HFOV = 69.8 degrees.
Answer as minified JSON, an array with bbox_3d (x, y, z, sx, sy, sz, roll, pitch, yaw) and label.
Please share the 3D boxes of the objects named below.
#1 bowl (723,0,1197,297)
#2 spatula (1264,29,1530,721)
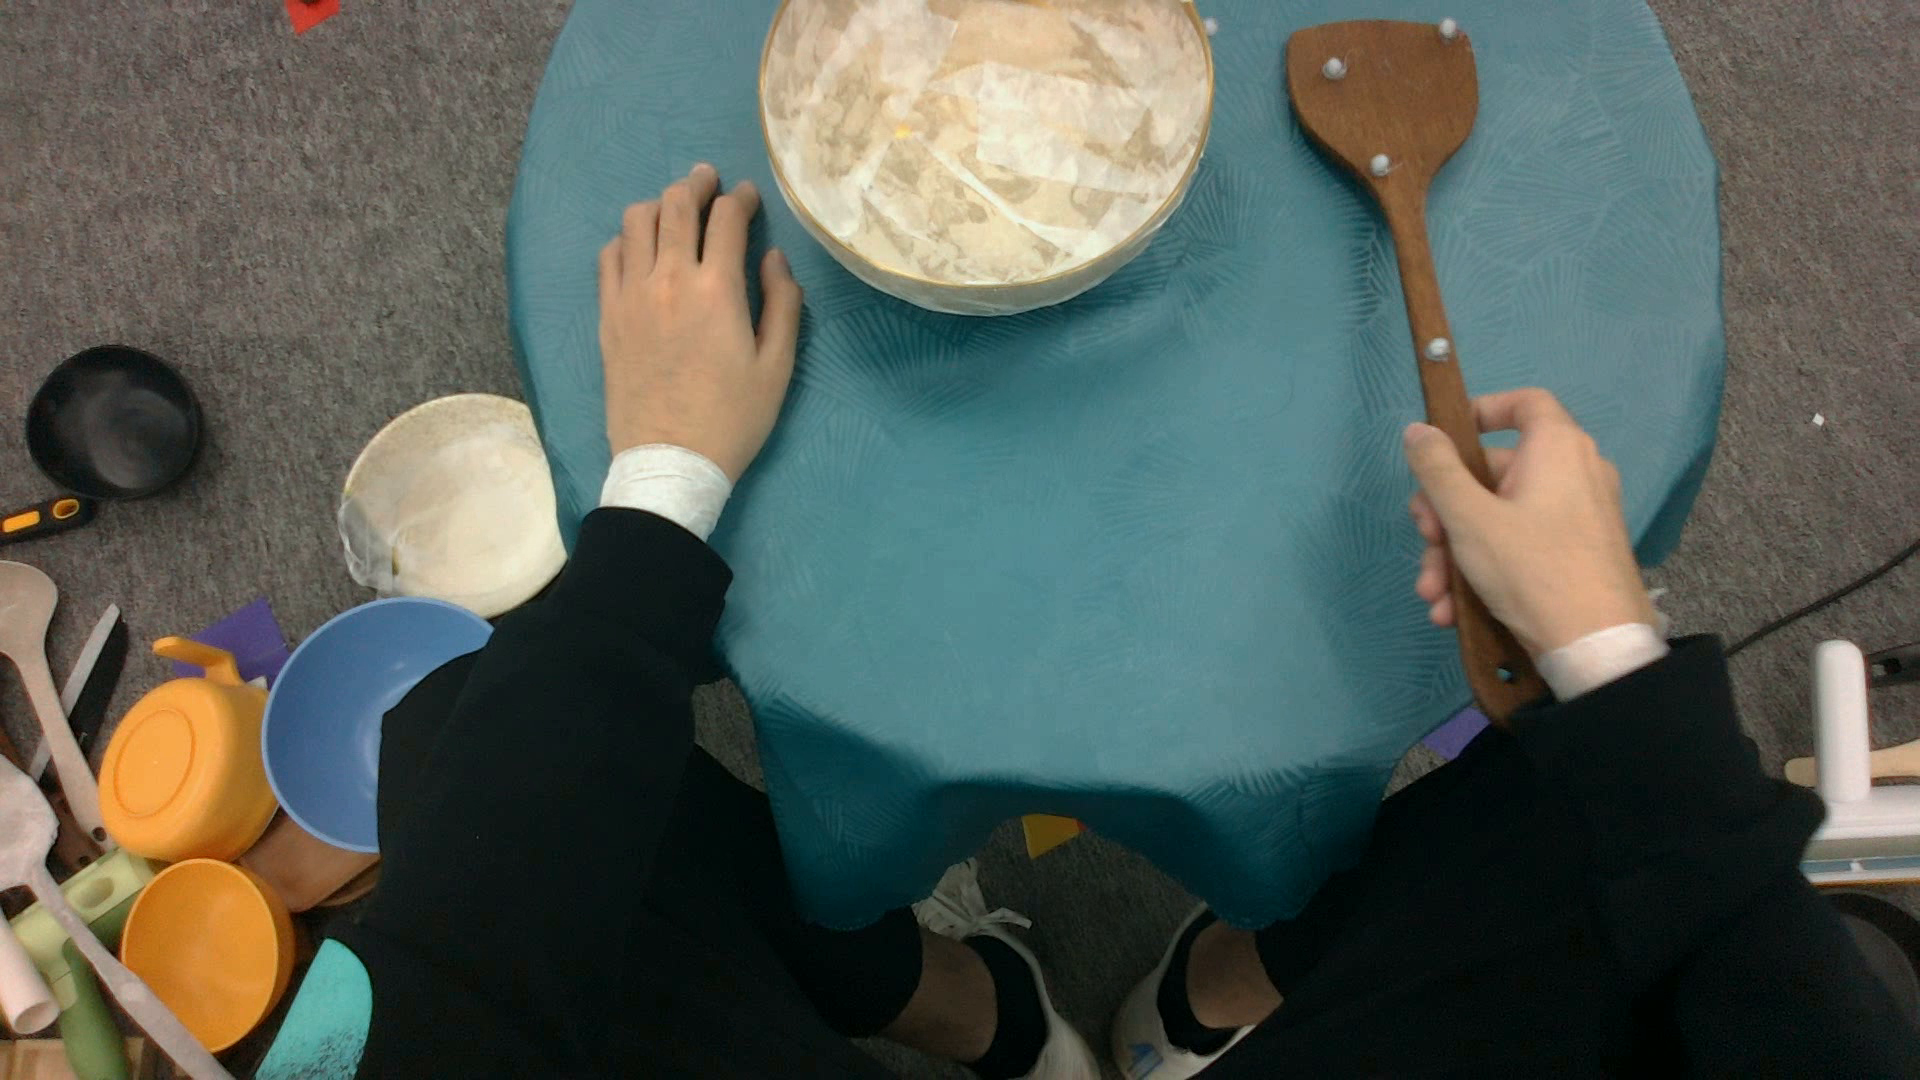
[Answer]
[{"bbox_3d":[-0.002,-0.194,0.644,0.215,0.094,0.215,0,74,-1],"label":"bowl"},{"bbox_3d":[0.202,-0.099,0.615,0.096,0.016,0.387,2,58,-4],"label":"spatula"}]
